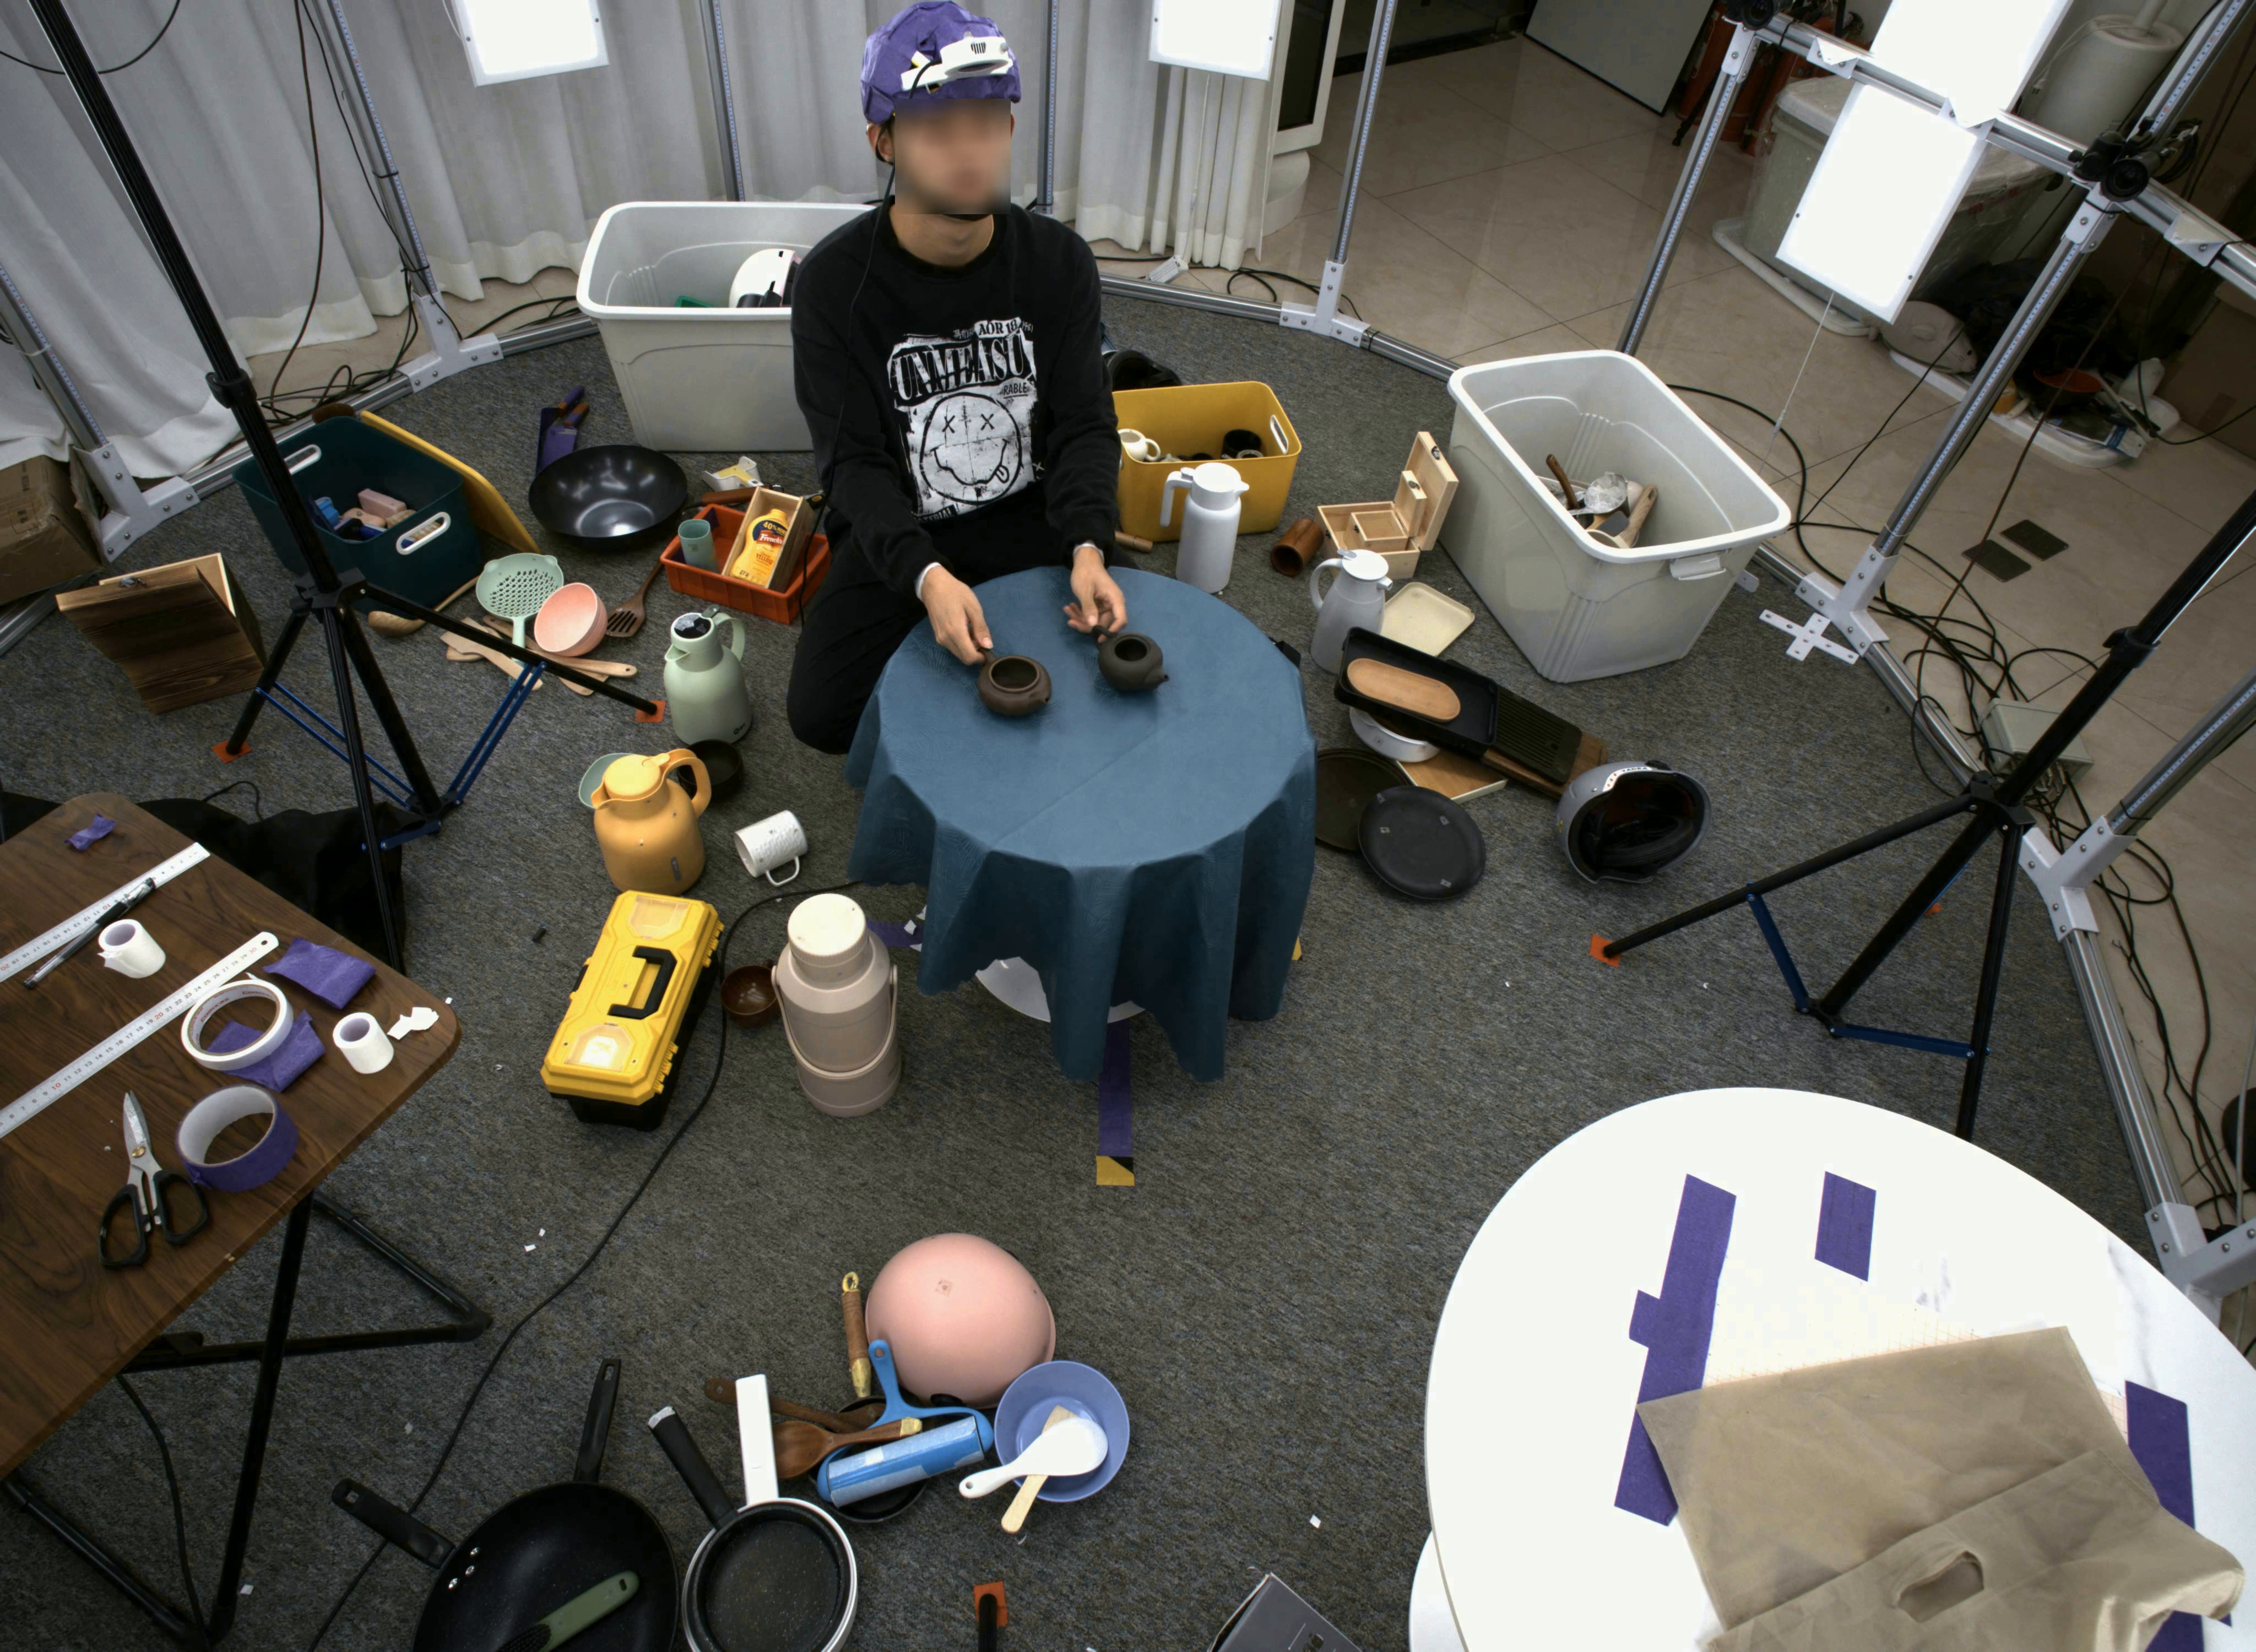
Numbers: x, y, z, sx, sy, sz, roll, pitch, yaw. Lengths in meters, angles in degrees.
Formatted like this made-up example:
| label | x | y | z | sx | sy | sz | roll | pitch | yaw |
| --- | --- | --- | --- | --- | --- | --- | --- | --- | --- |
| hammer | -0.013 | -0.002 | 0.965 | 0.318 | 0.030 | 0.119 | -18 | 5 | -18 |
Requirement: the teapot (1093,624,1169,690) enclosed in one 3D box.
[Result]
| label | x | y | z | sx | sy | sz | roll | pitch | yaw |
| --- | --- | --- | --- | --- | --- | --- | --- | --- | --- |
| teapot | 0.002 | -0.237 | 1.834 | 0.093 | 0.063 | 0.157 | -32 | 59 | -29 |

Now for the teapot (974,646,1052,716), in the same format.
| label | x | y | z | sx | sy | sz | roll | pitch | yaw |
| --- | --- | --- | --- | --- | --- | --- | --- | --- | --- |
| teapot | -0.162 | -0.201 | 1.798 | 0.155 | 0.052 | 0.103 | 37 | 54 | 24 |
